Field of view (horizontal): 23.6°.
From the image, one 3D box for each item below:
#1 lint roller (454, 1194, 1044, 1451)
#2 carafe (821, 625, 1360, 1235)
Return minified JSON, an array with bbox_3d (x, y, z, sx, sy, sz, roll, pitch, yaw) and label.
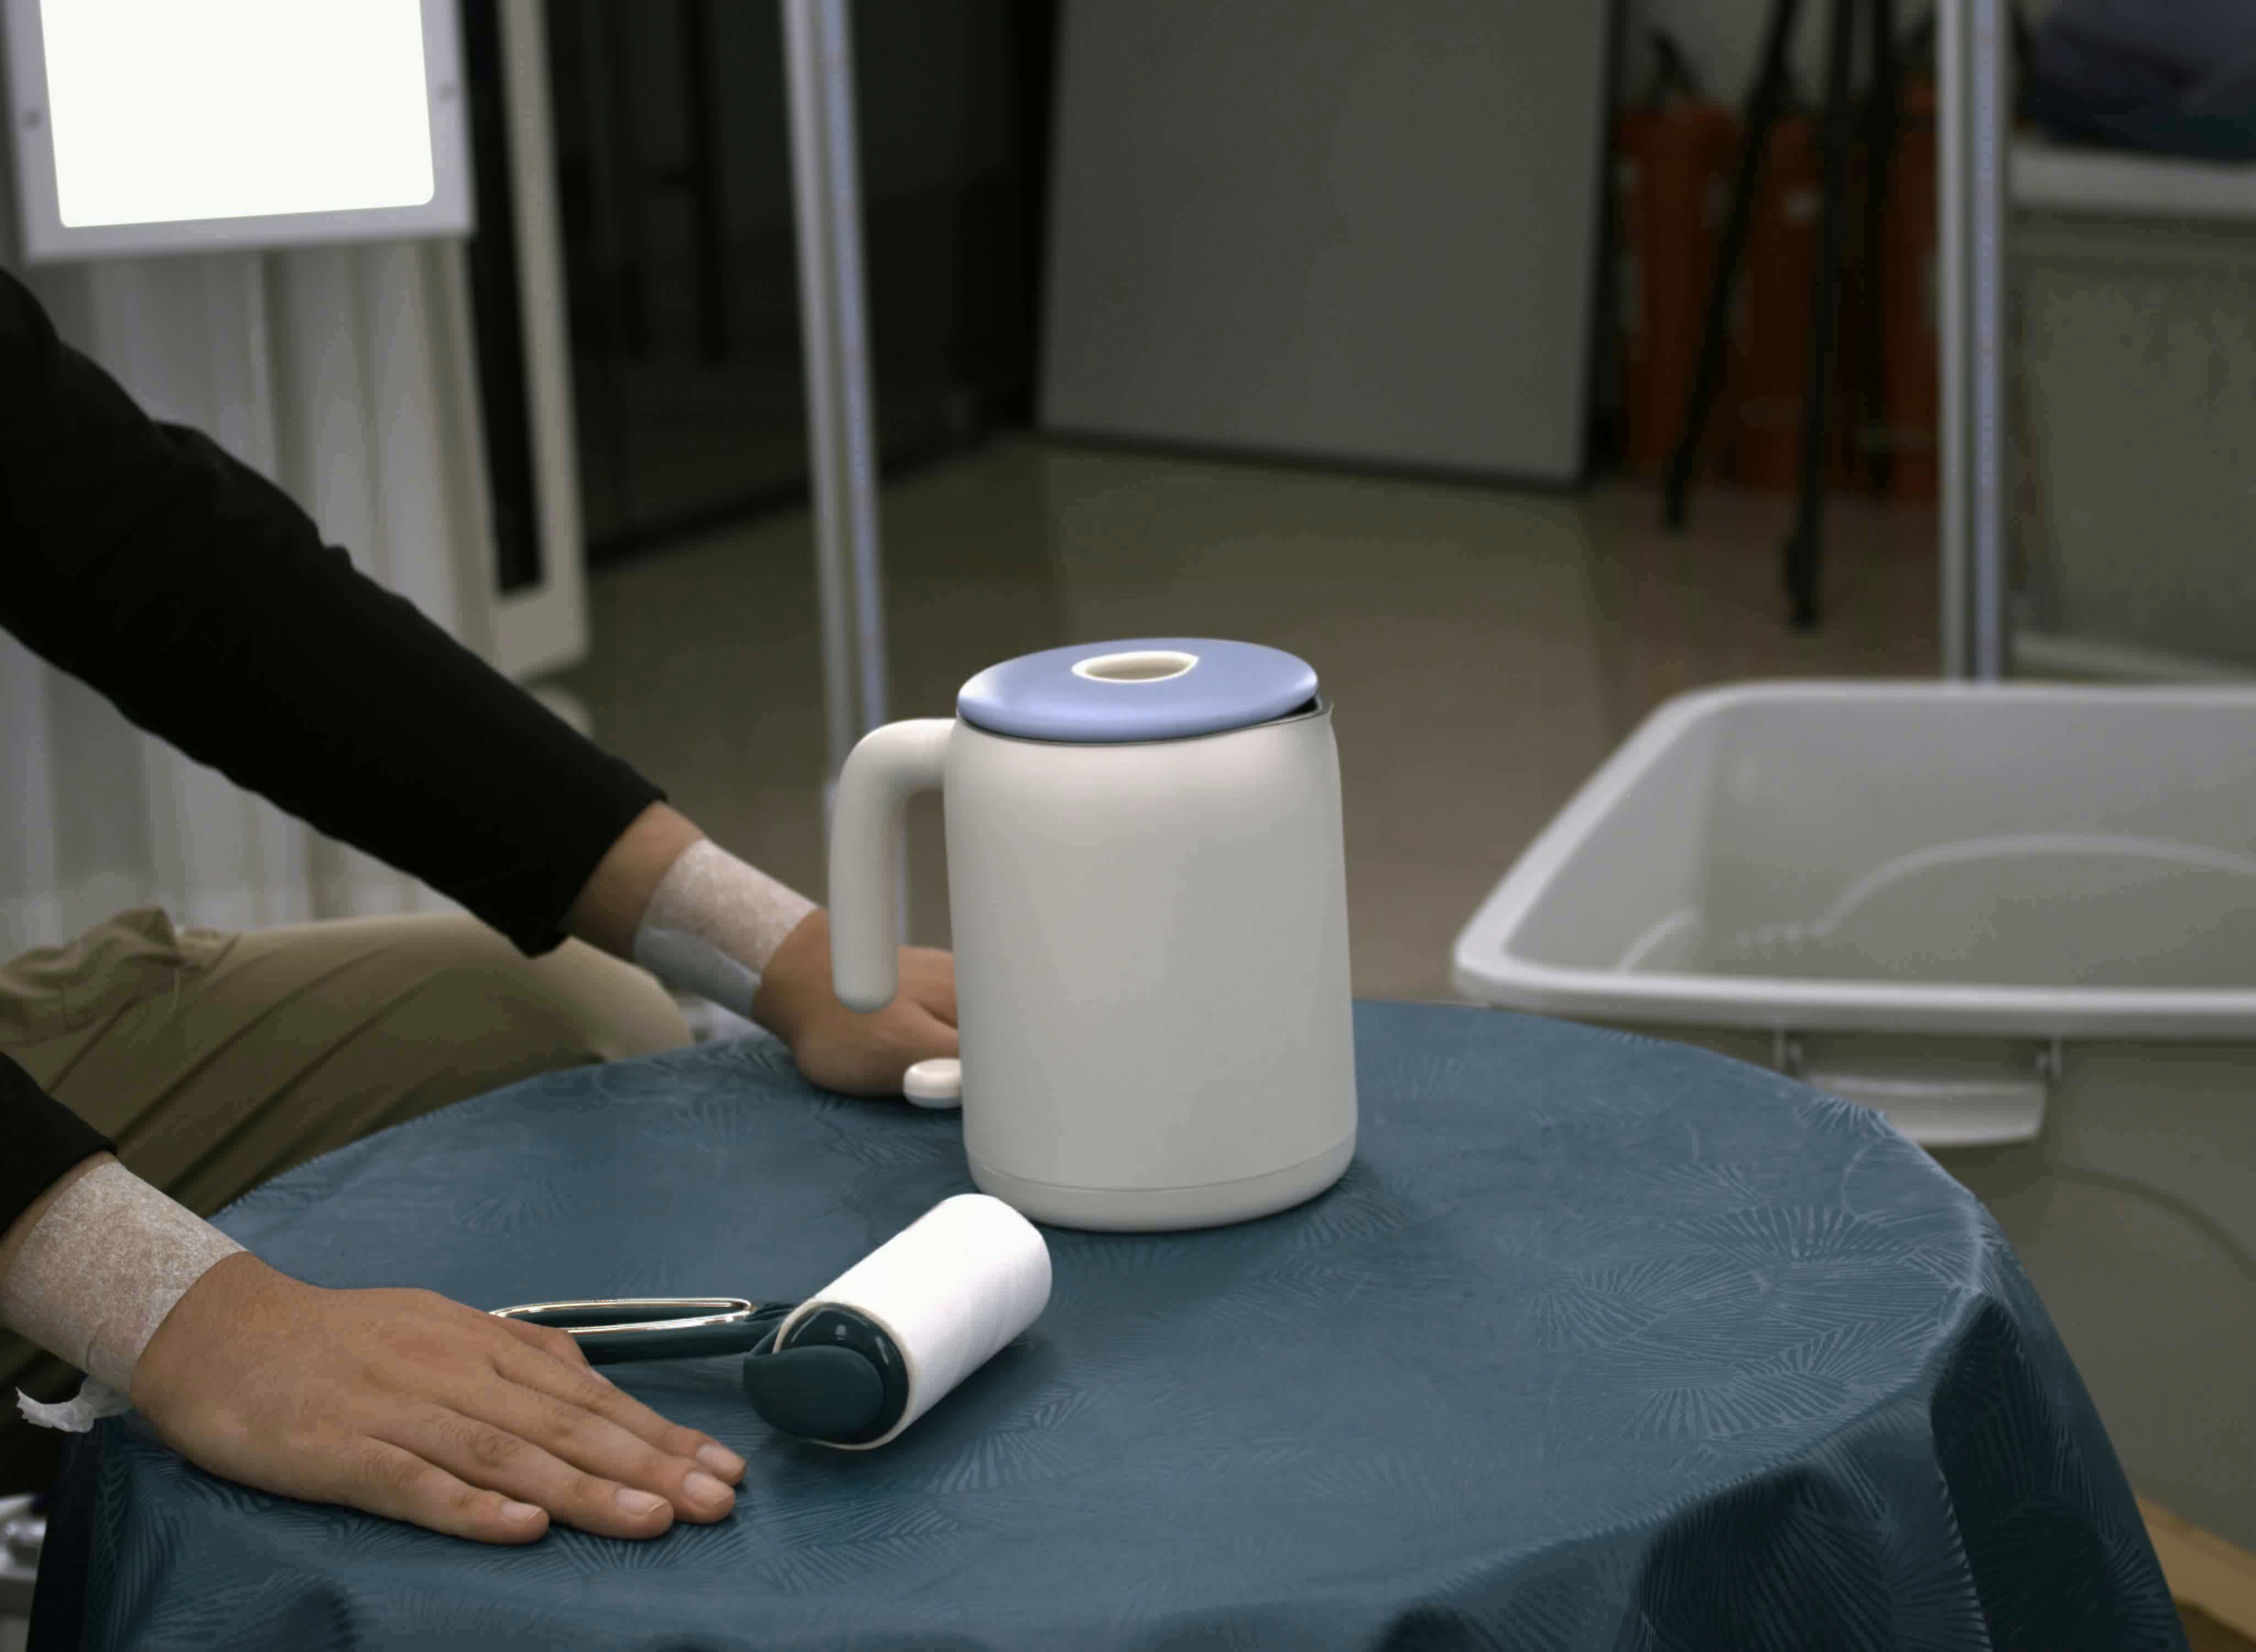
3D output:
[{"bbox_3d":[-0.125,0.146,1.617,0.180,0.049,0.133,-1,14,24],"label":"lint roller"},{"bbox_3d":[-0.015,0.033,1.772,0.191,0.184,0.130,0,13,25],"label":"carafe"}]
